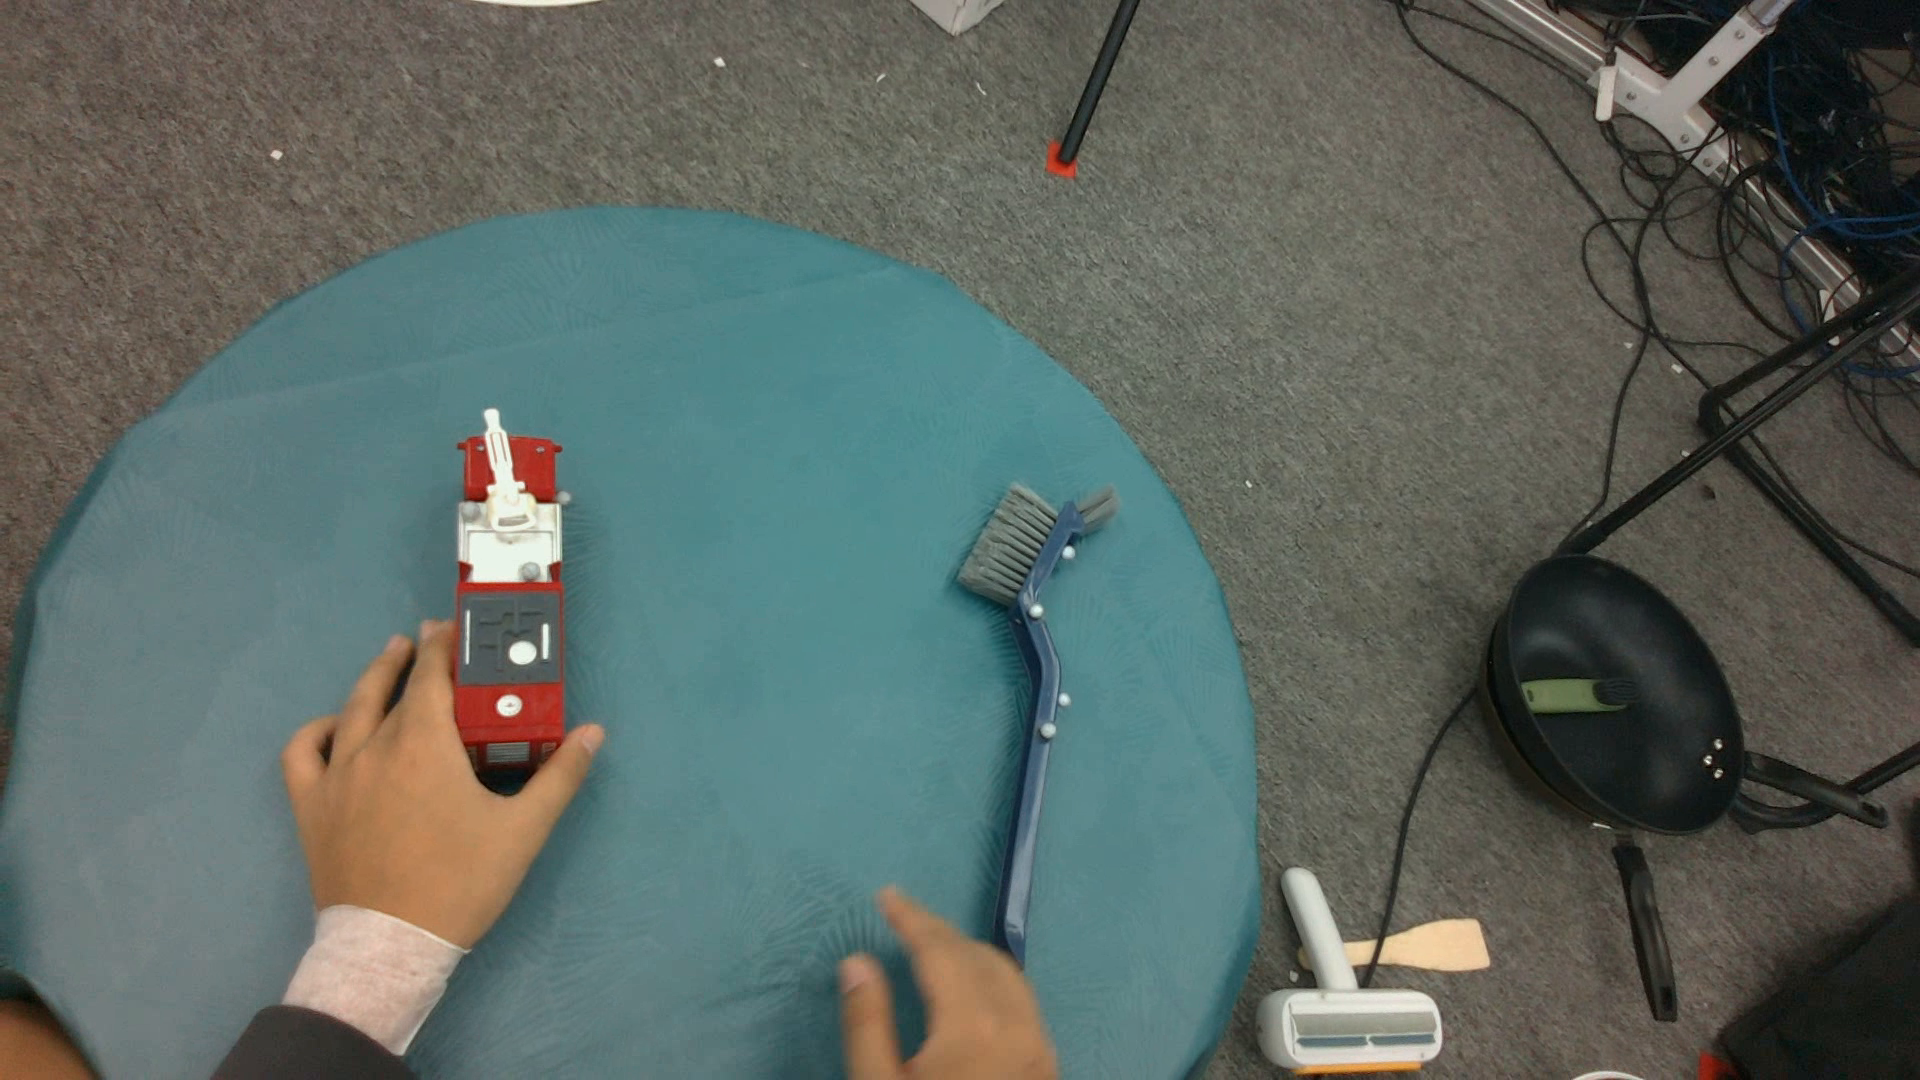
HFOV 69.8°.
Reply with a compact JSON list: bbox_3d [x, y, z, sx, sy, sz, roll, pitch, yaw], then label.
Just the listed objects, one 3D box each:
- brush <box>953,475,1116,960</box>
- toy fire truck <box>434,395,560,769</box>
[{"bbox_3d":[0.041,0.081,0.720,0.096,0.033,0.274,10,59,-16],"label":"brush"},{"bbox_3d":[-0.218,0.021,0.644,0.054,0.070,0.168,-1,64,-20],"label":"toy fire truck"}]
